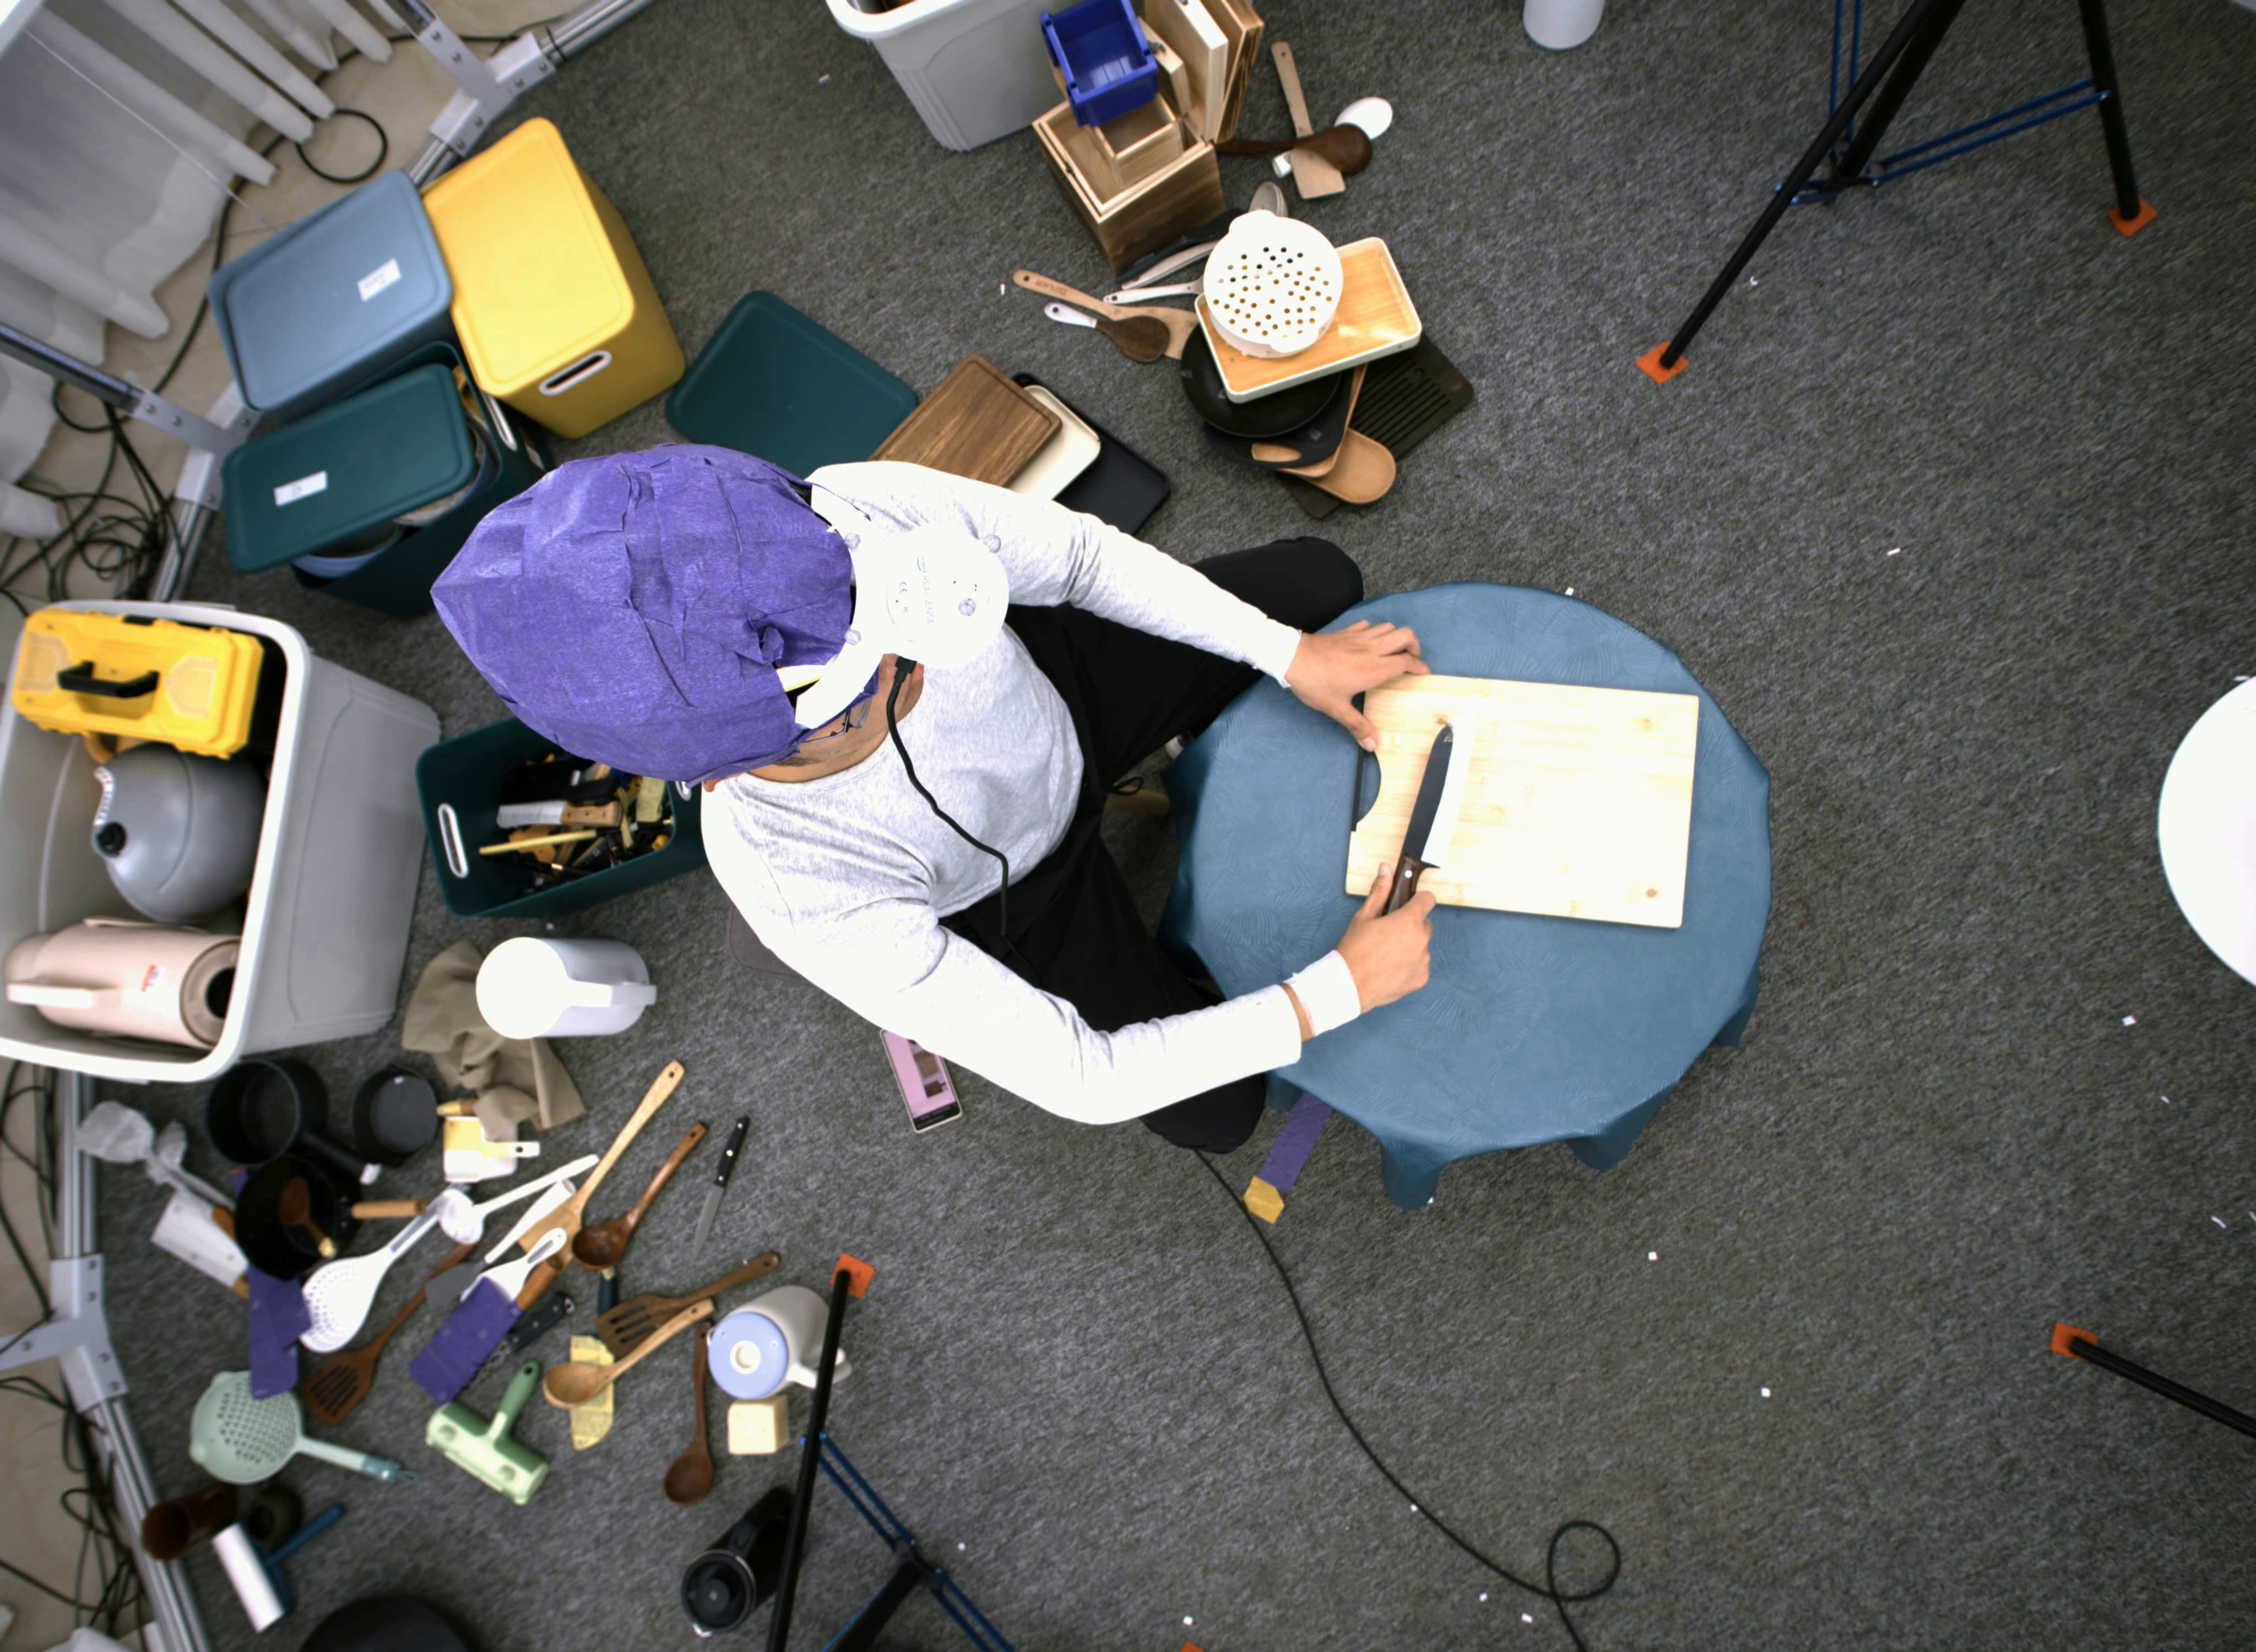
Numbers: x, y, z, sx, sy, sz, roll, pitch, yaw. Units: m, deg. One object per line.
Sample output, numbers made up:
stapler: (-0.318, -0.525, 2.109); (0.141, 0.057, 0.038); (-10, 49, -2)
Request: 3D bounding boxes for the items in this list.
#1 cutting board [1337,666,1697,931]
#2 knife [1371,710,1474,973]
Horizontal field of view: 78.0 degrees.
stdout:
cutting board: (0.404, -0.034, 1.433); (0.350, 0.023, 0.250); (5, 87, 11)
knife: (0.297, 0.013, 1.377); (0.050, 0.020, 0.287); (21, 84, -1)
